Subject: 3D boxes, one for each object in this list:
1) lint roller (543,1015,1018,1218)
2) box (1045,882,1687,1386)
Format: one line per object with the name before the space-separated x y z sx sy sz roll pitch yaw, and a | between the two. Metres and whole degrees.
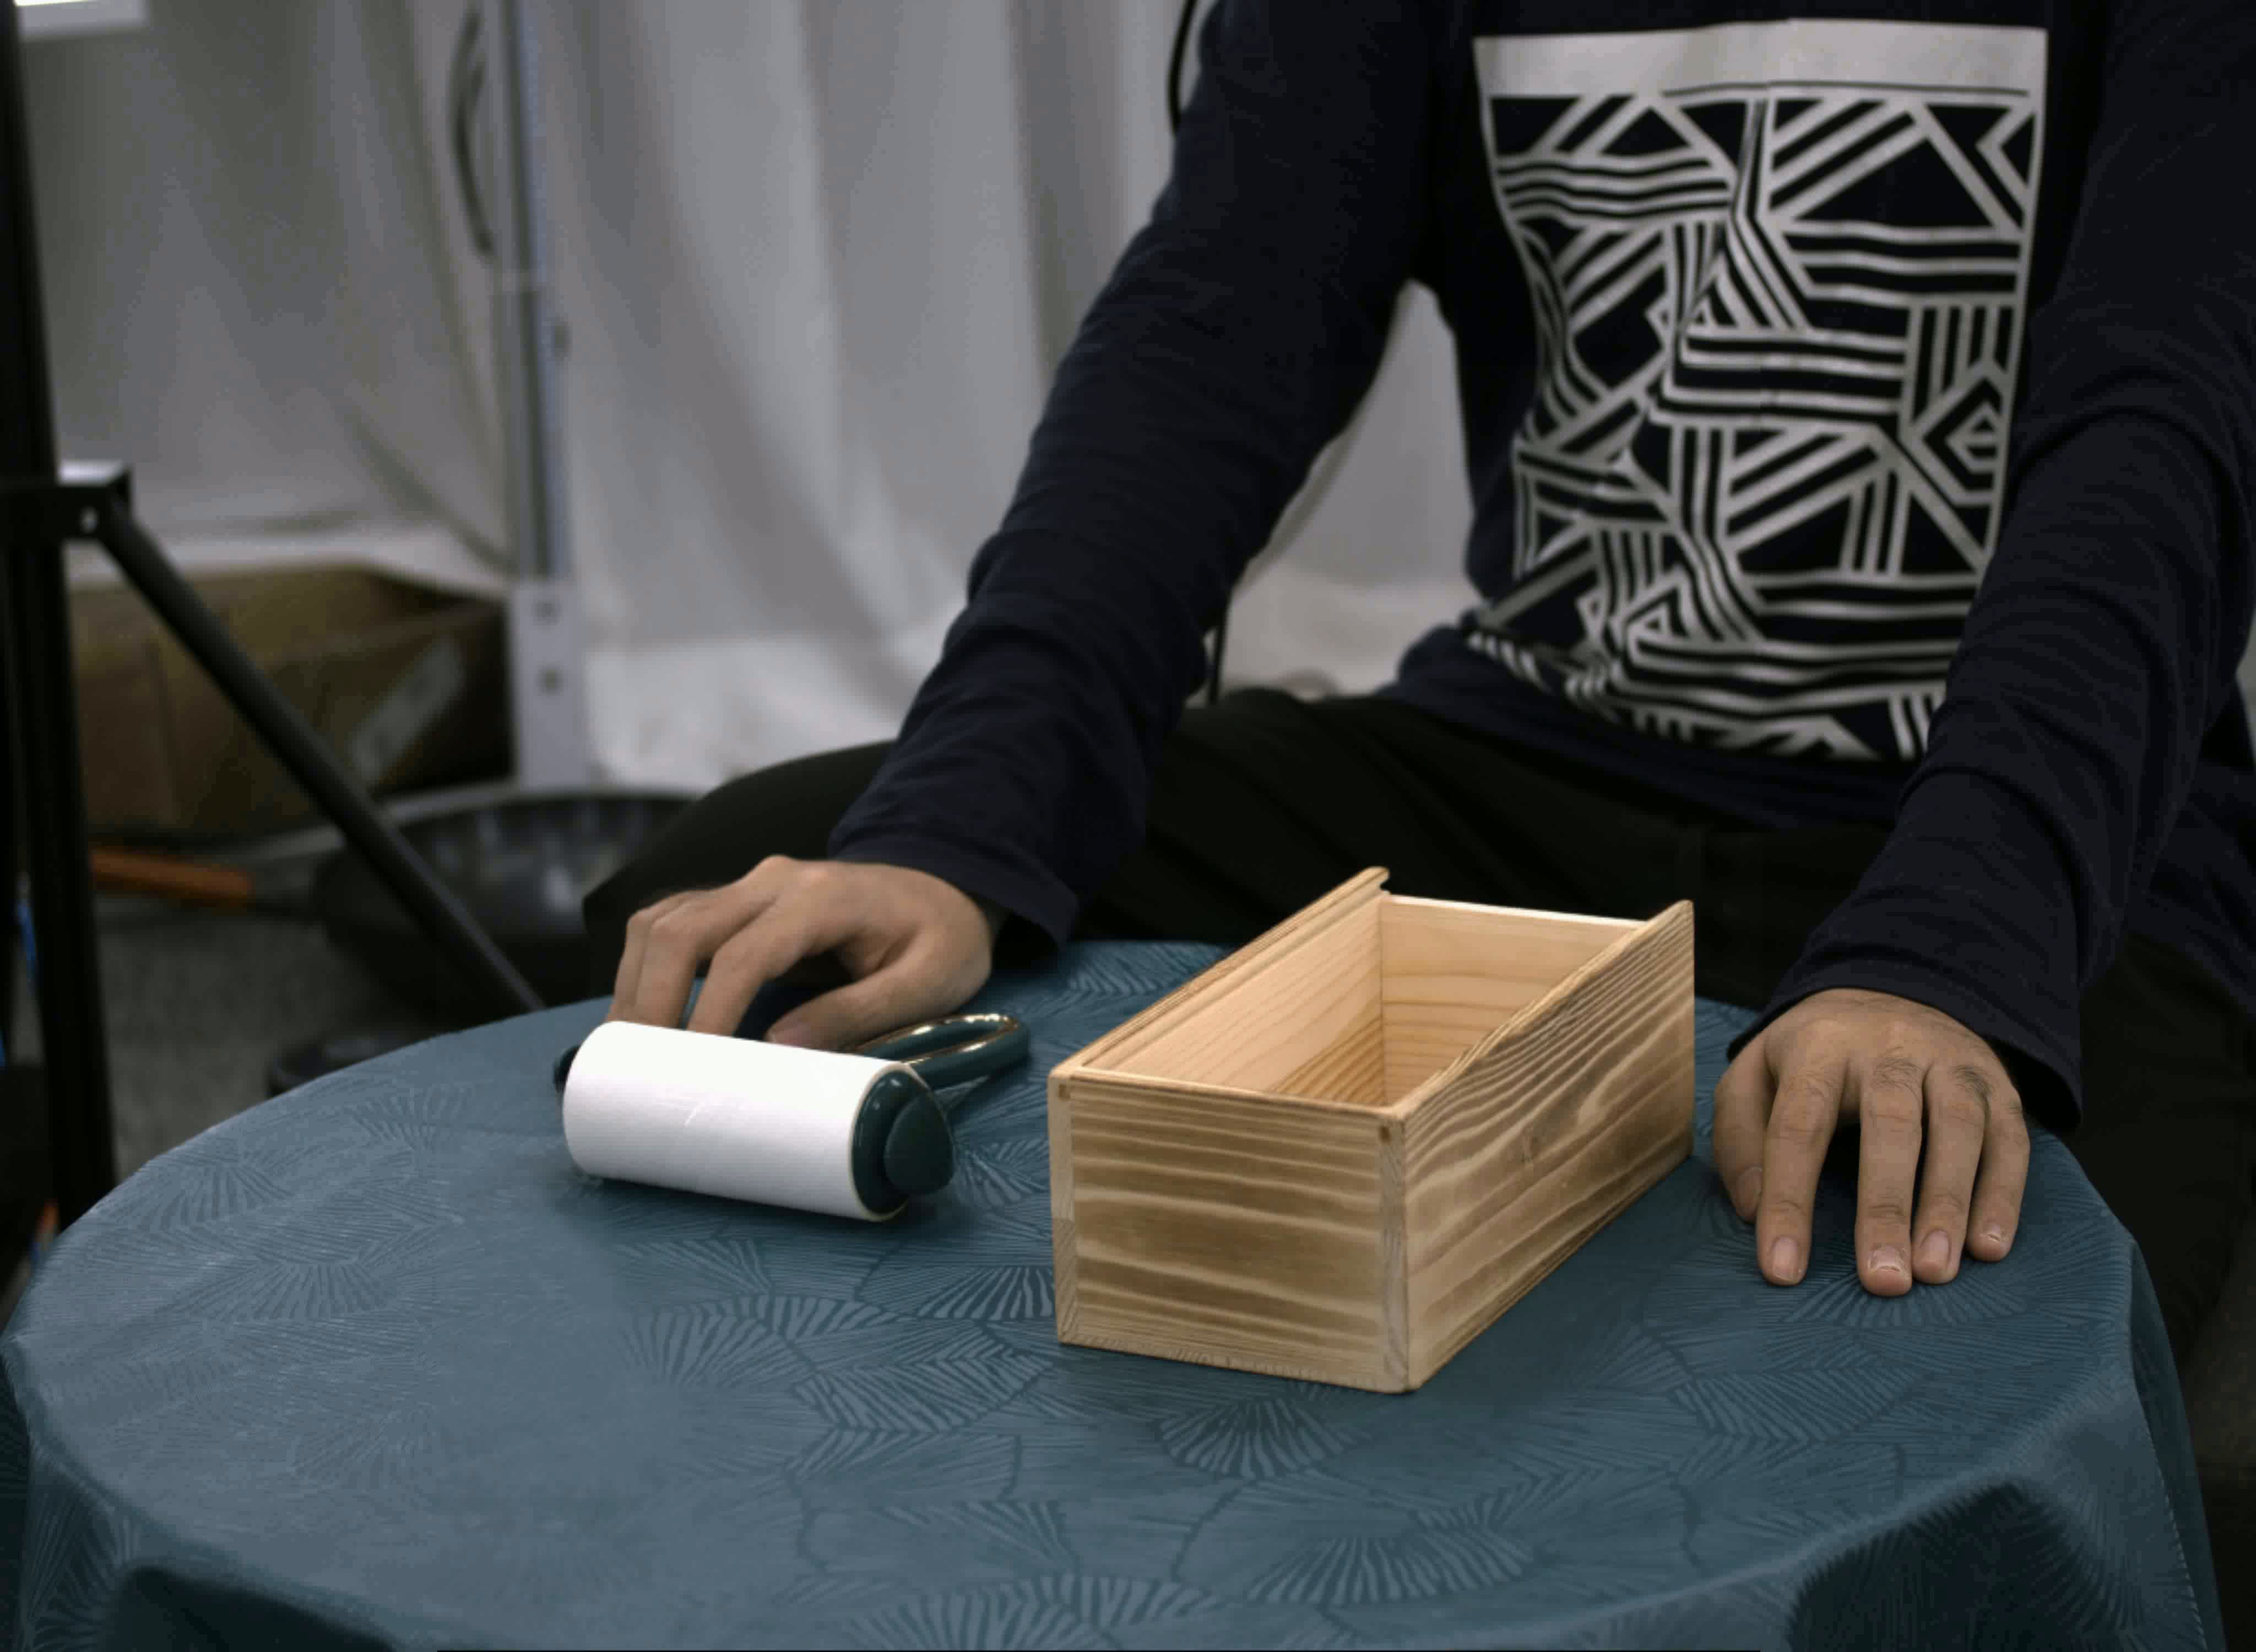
lint roller | -0.082 0.072 1.626 0.136 0.048 0.177 7 15 28
box | 0.072 0.082 1.497 0.109 0.080 0.208 5 15 26
